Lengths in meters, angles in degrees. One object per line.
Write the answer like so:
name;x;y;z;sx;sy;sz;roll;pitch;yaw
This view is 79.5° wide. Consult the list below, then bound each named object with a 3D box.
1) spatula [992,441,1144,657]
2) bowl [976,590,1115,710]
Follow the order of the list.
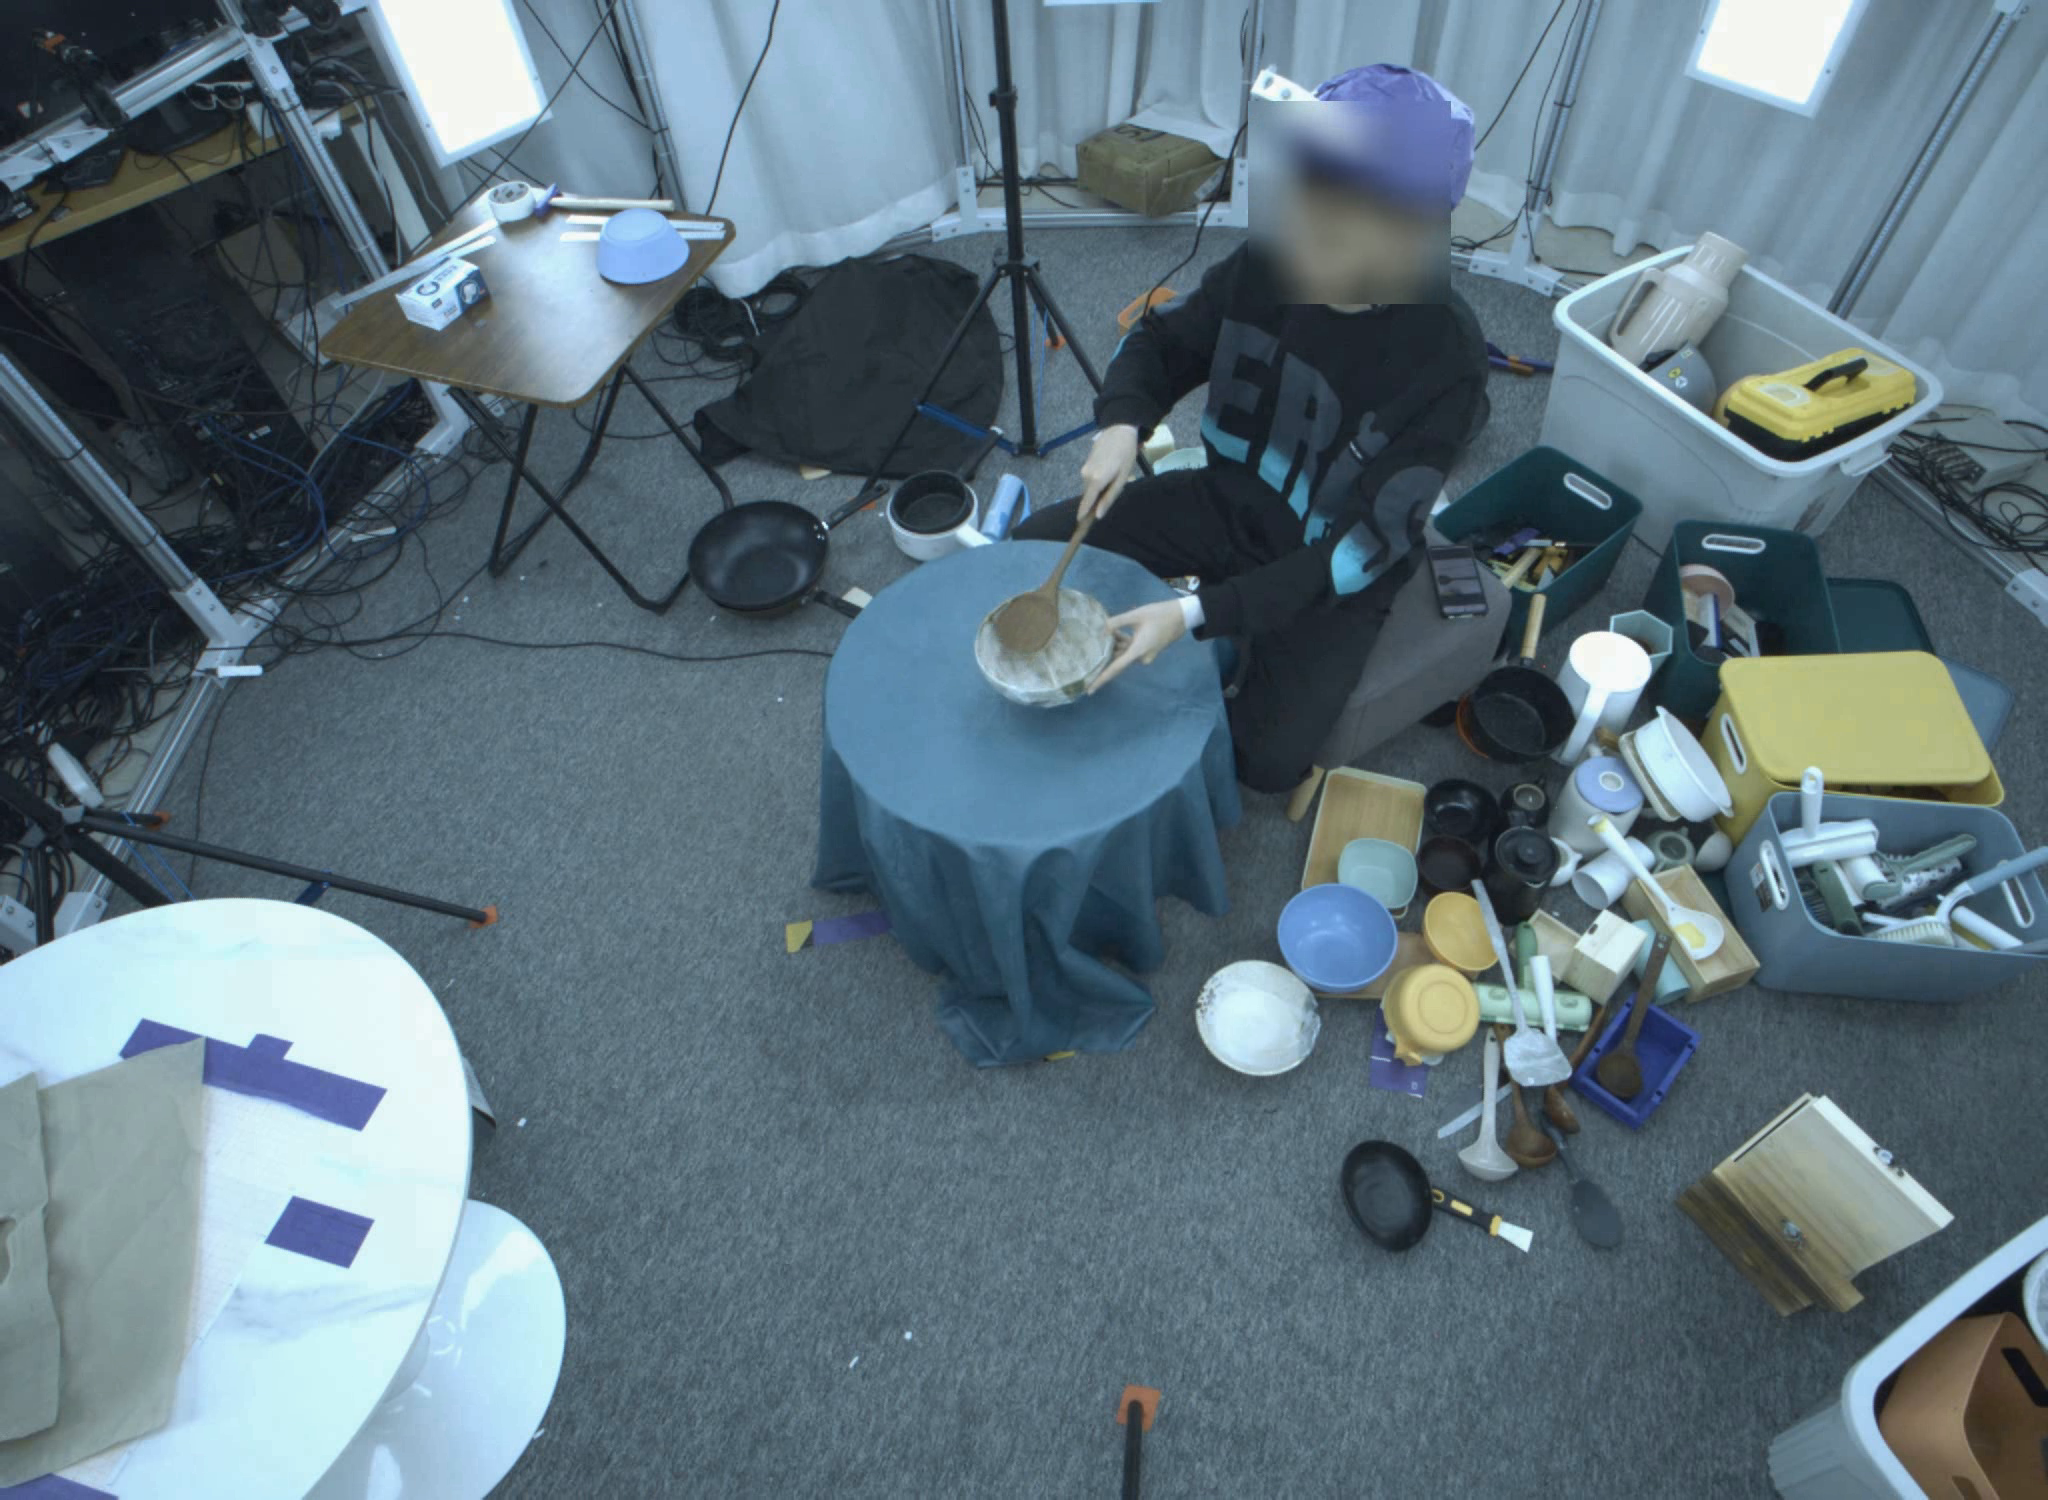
spatula;0.077;-0.307;1.824;0.094;0.016;0.386;26;82;28
bowl;0.040;-0.133;1.800;0.213;0.096;0.212;-5;54;8
